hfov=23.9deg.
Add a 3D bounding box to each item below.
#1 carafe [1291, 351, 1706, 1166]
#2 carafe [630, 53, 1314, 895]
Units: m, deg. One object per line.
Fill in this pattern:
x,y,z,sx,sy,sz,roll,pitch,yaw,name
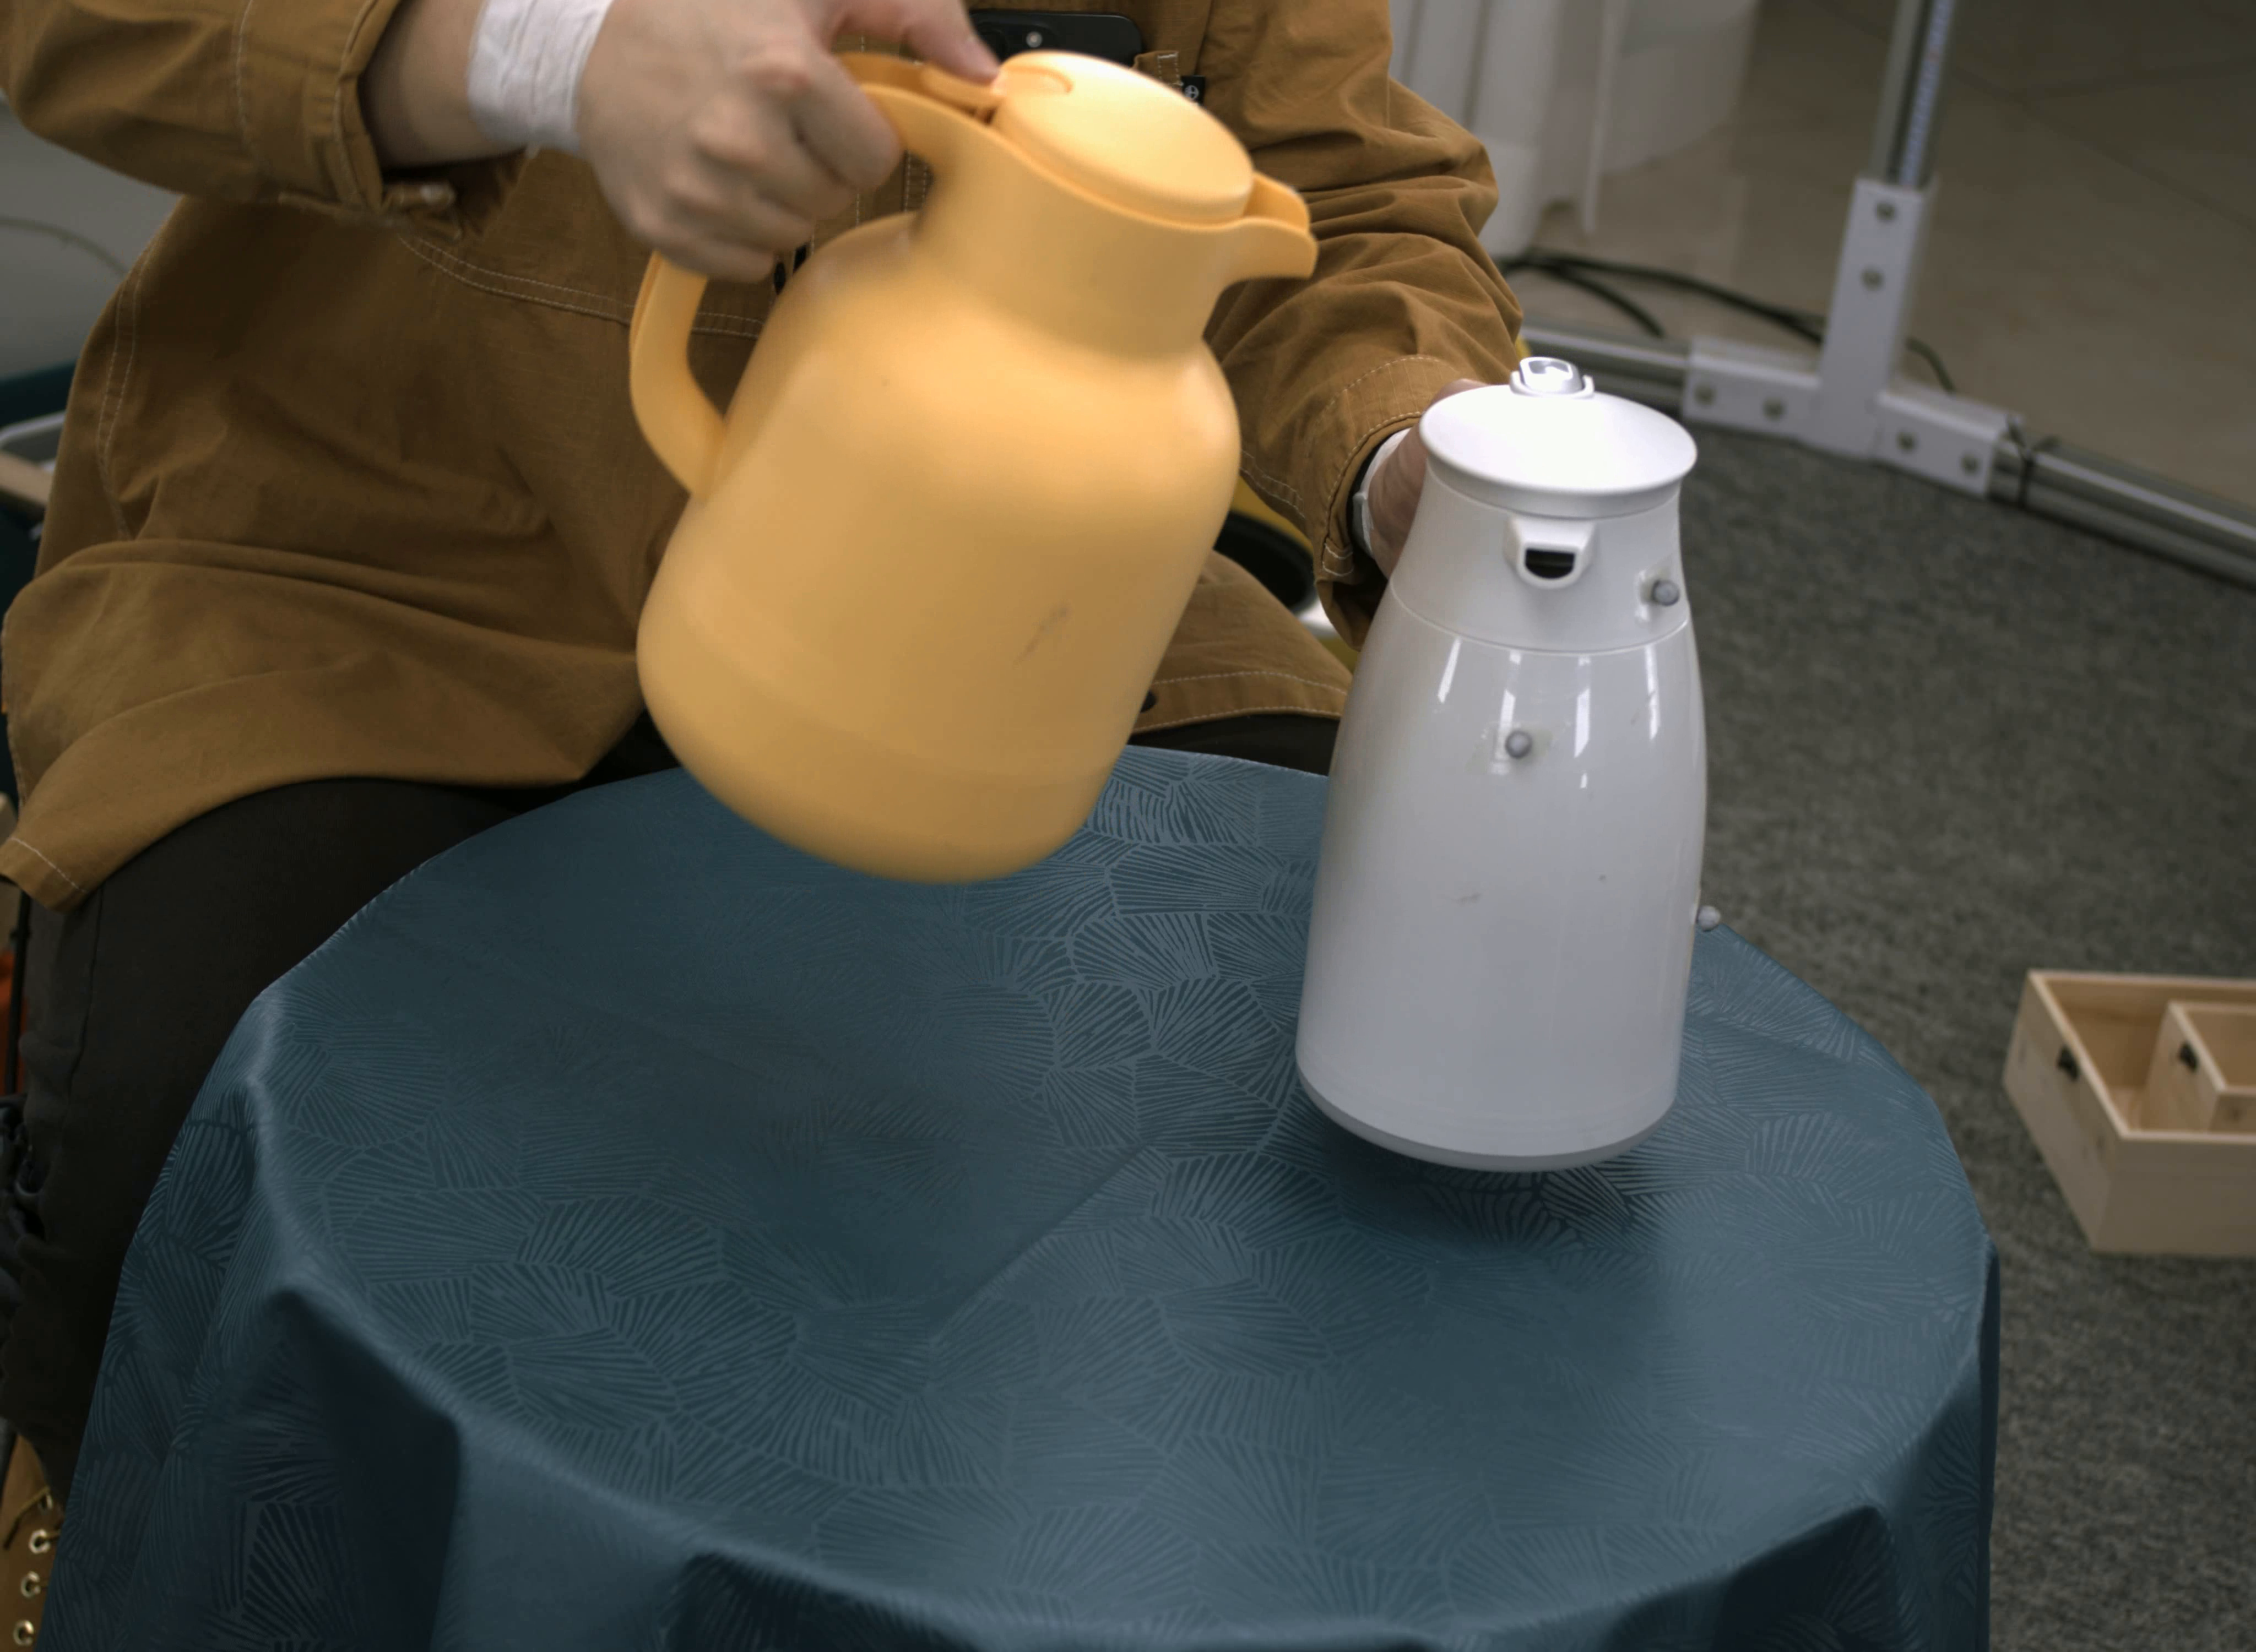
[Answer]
0.132,-0.033,1.807,0.132,0.248,0.168,5,24,2,carafe
-0.067,-0.123,1.707,0.201,0.260,0.164,19,25,-13,carafe
